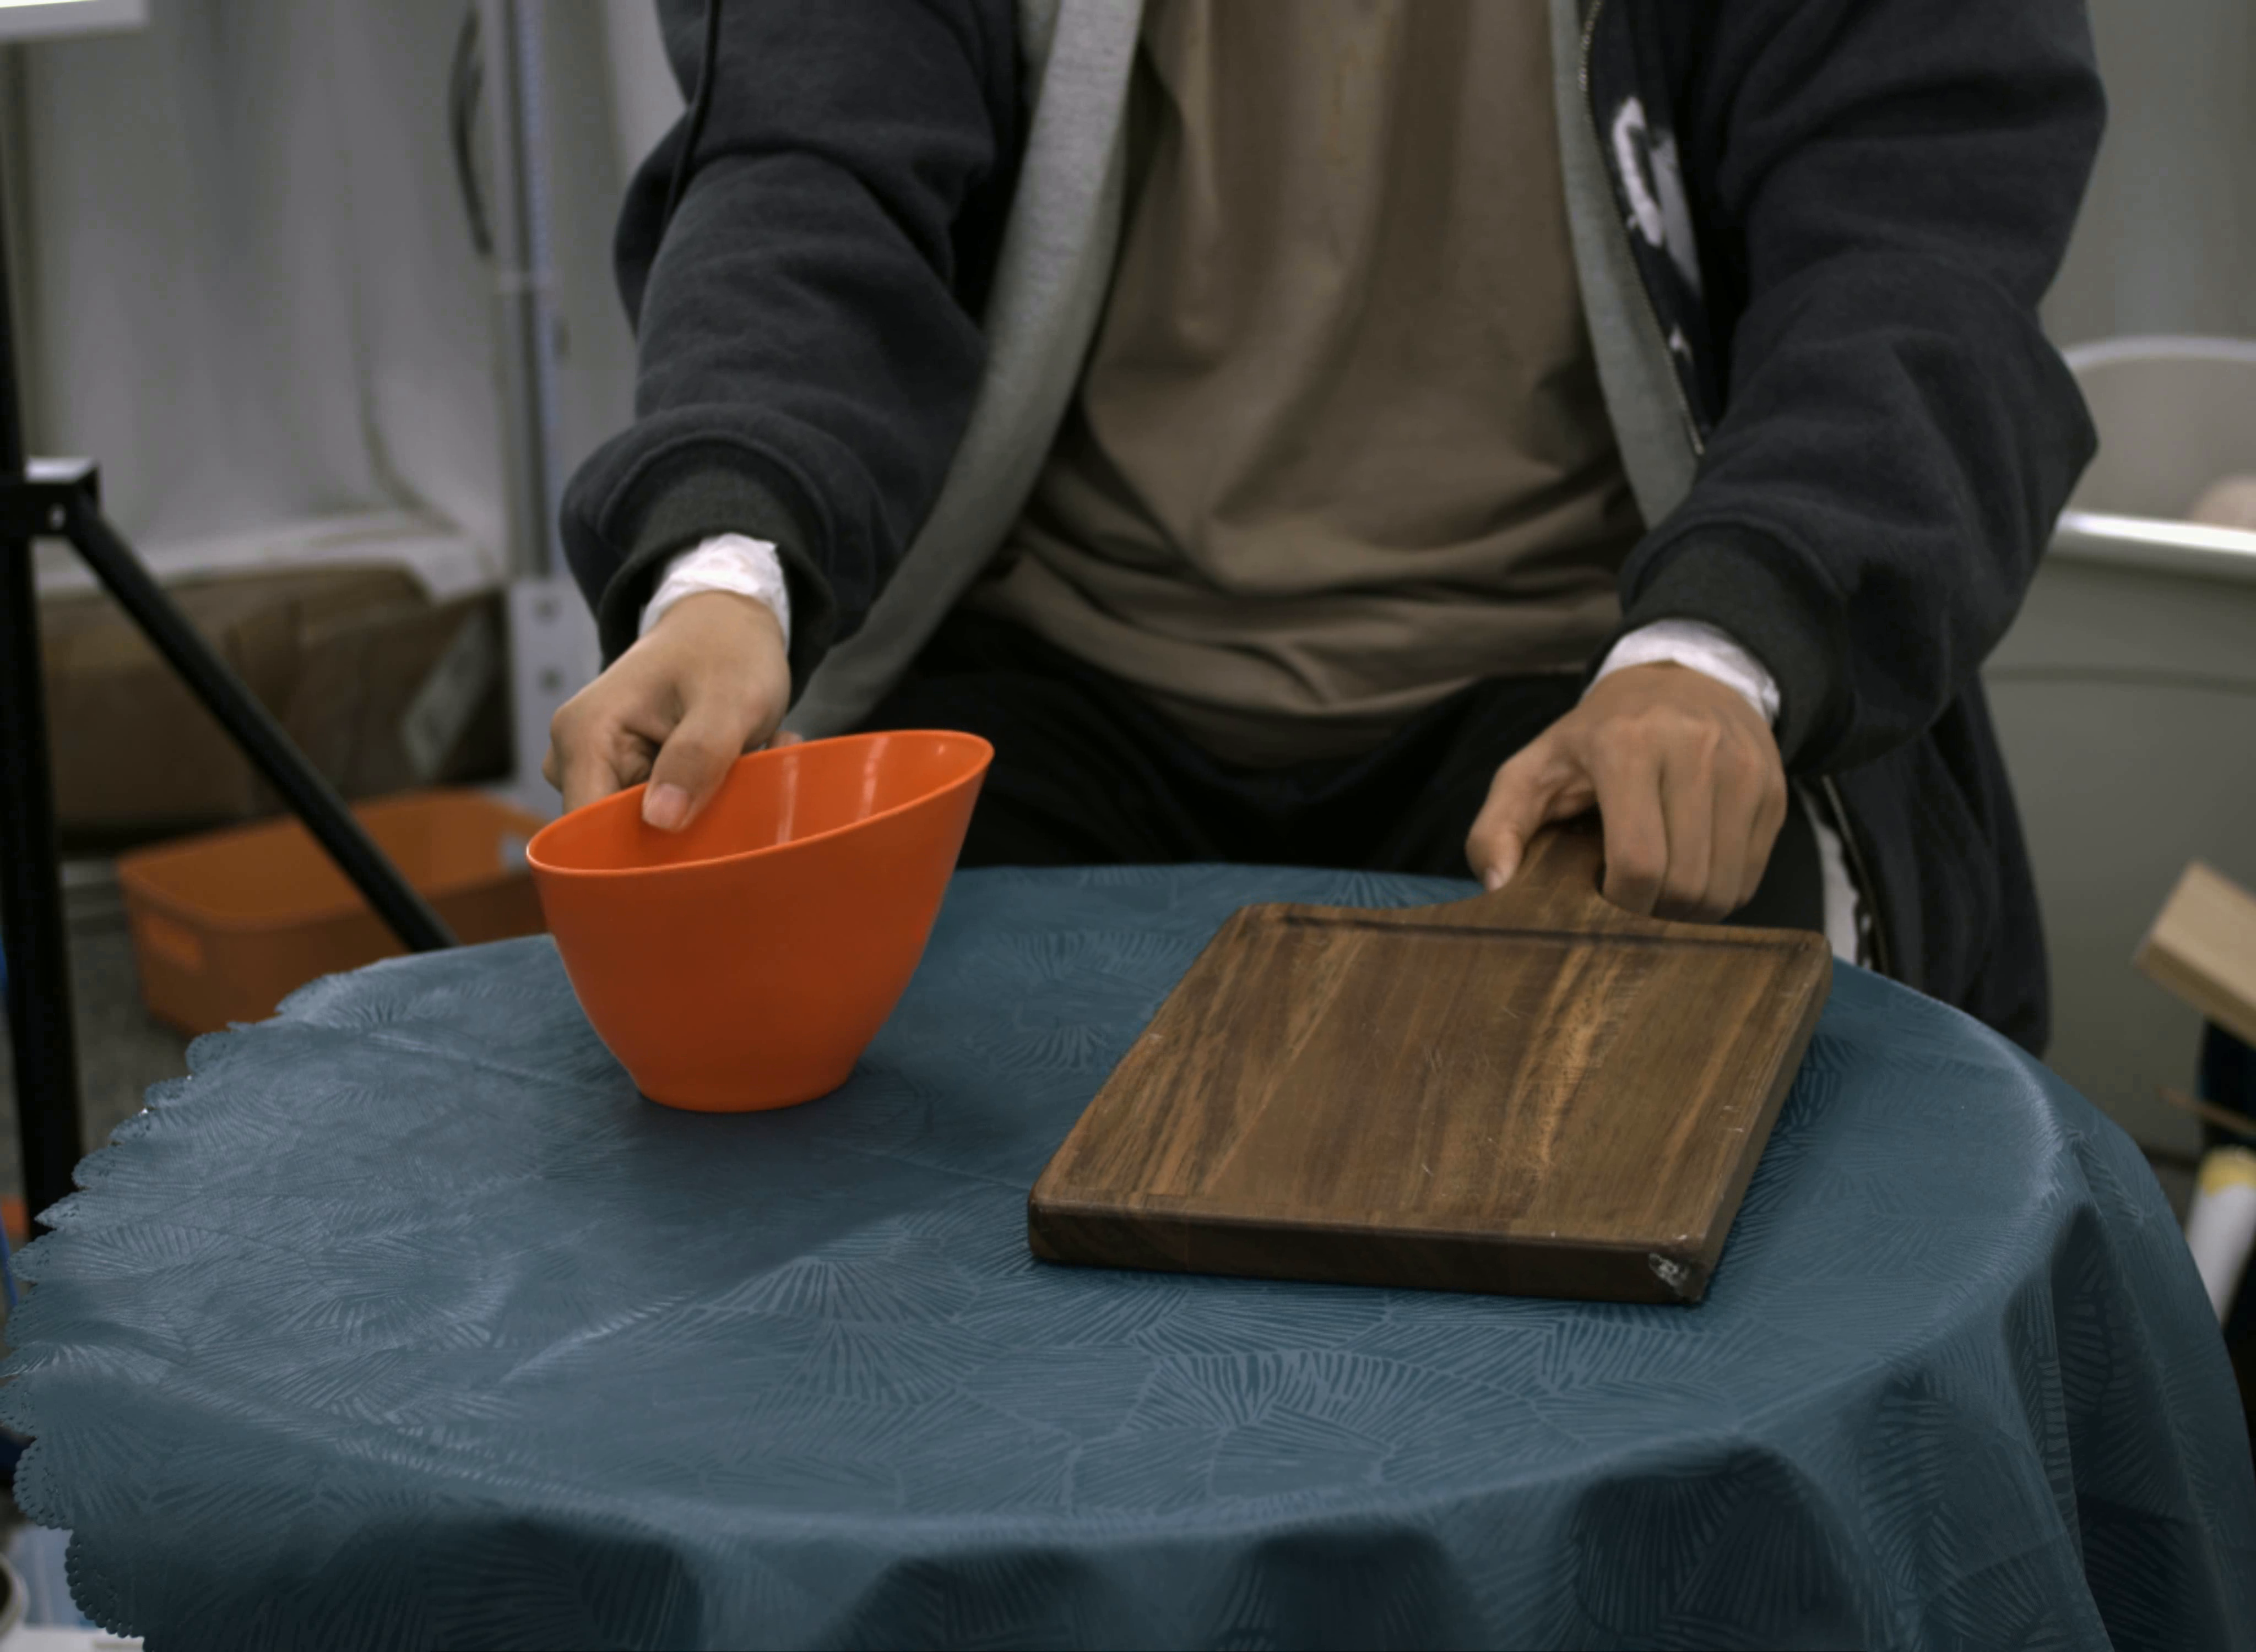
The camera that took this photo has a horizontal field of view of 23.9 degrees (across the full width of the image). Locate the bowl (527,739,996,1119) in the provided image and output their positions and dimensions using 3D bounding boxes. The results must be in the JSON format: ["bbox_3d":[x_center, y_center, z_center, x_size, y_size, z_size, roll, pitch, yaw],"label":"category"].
[{"bbox_3d":[-0.112,0.033,1.661,0.147,0.104,0.149,-3,15,-1],"label":"bowl"}]

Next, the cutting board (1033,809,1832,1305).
[{"bbox_3d":[0.110,0.062,1.628,0.203,0.023,0.349,2,20,16],"label":"cutting board"}]
